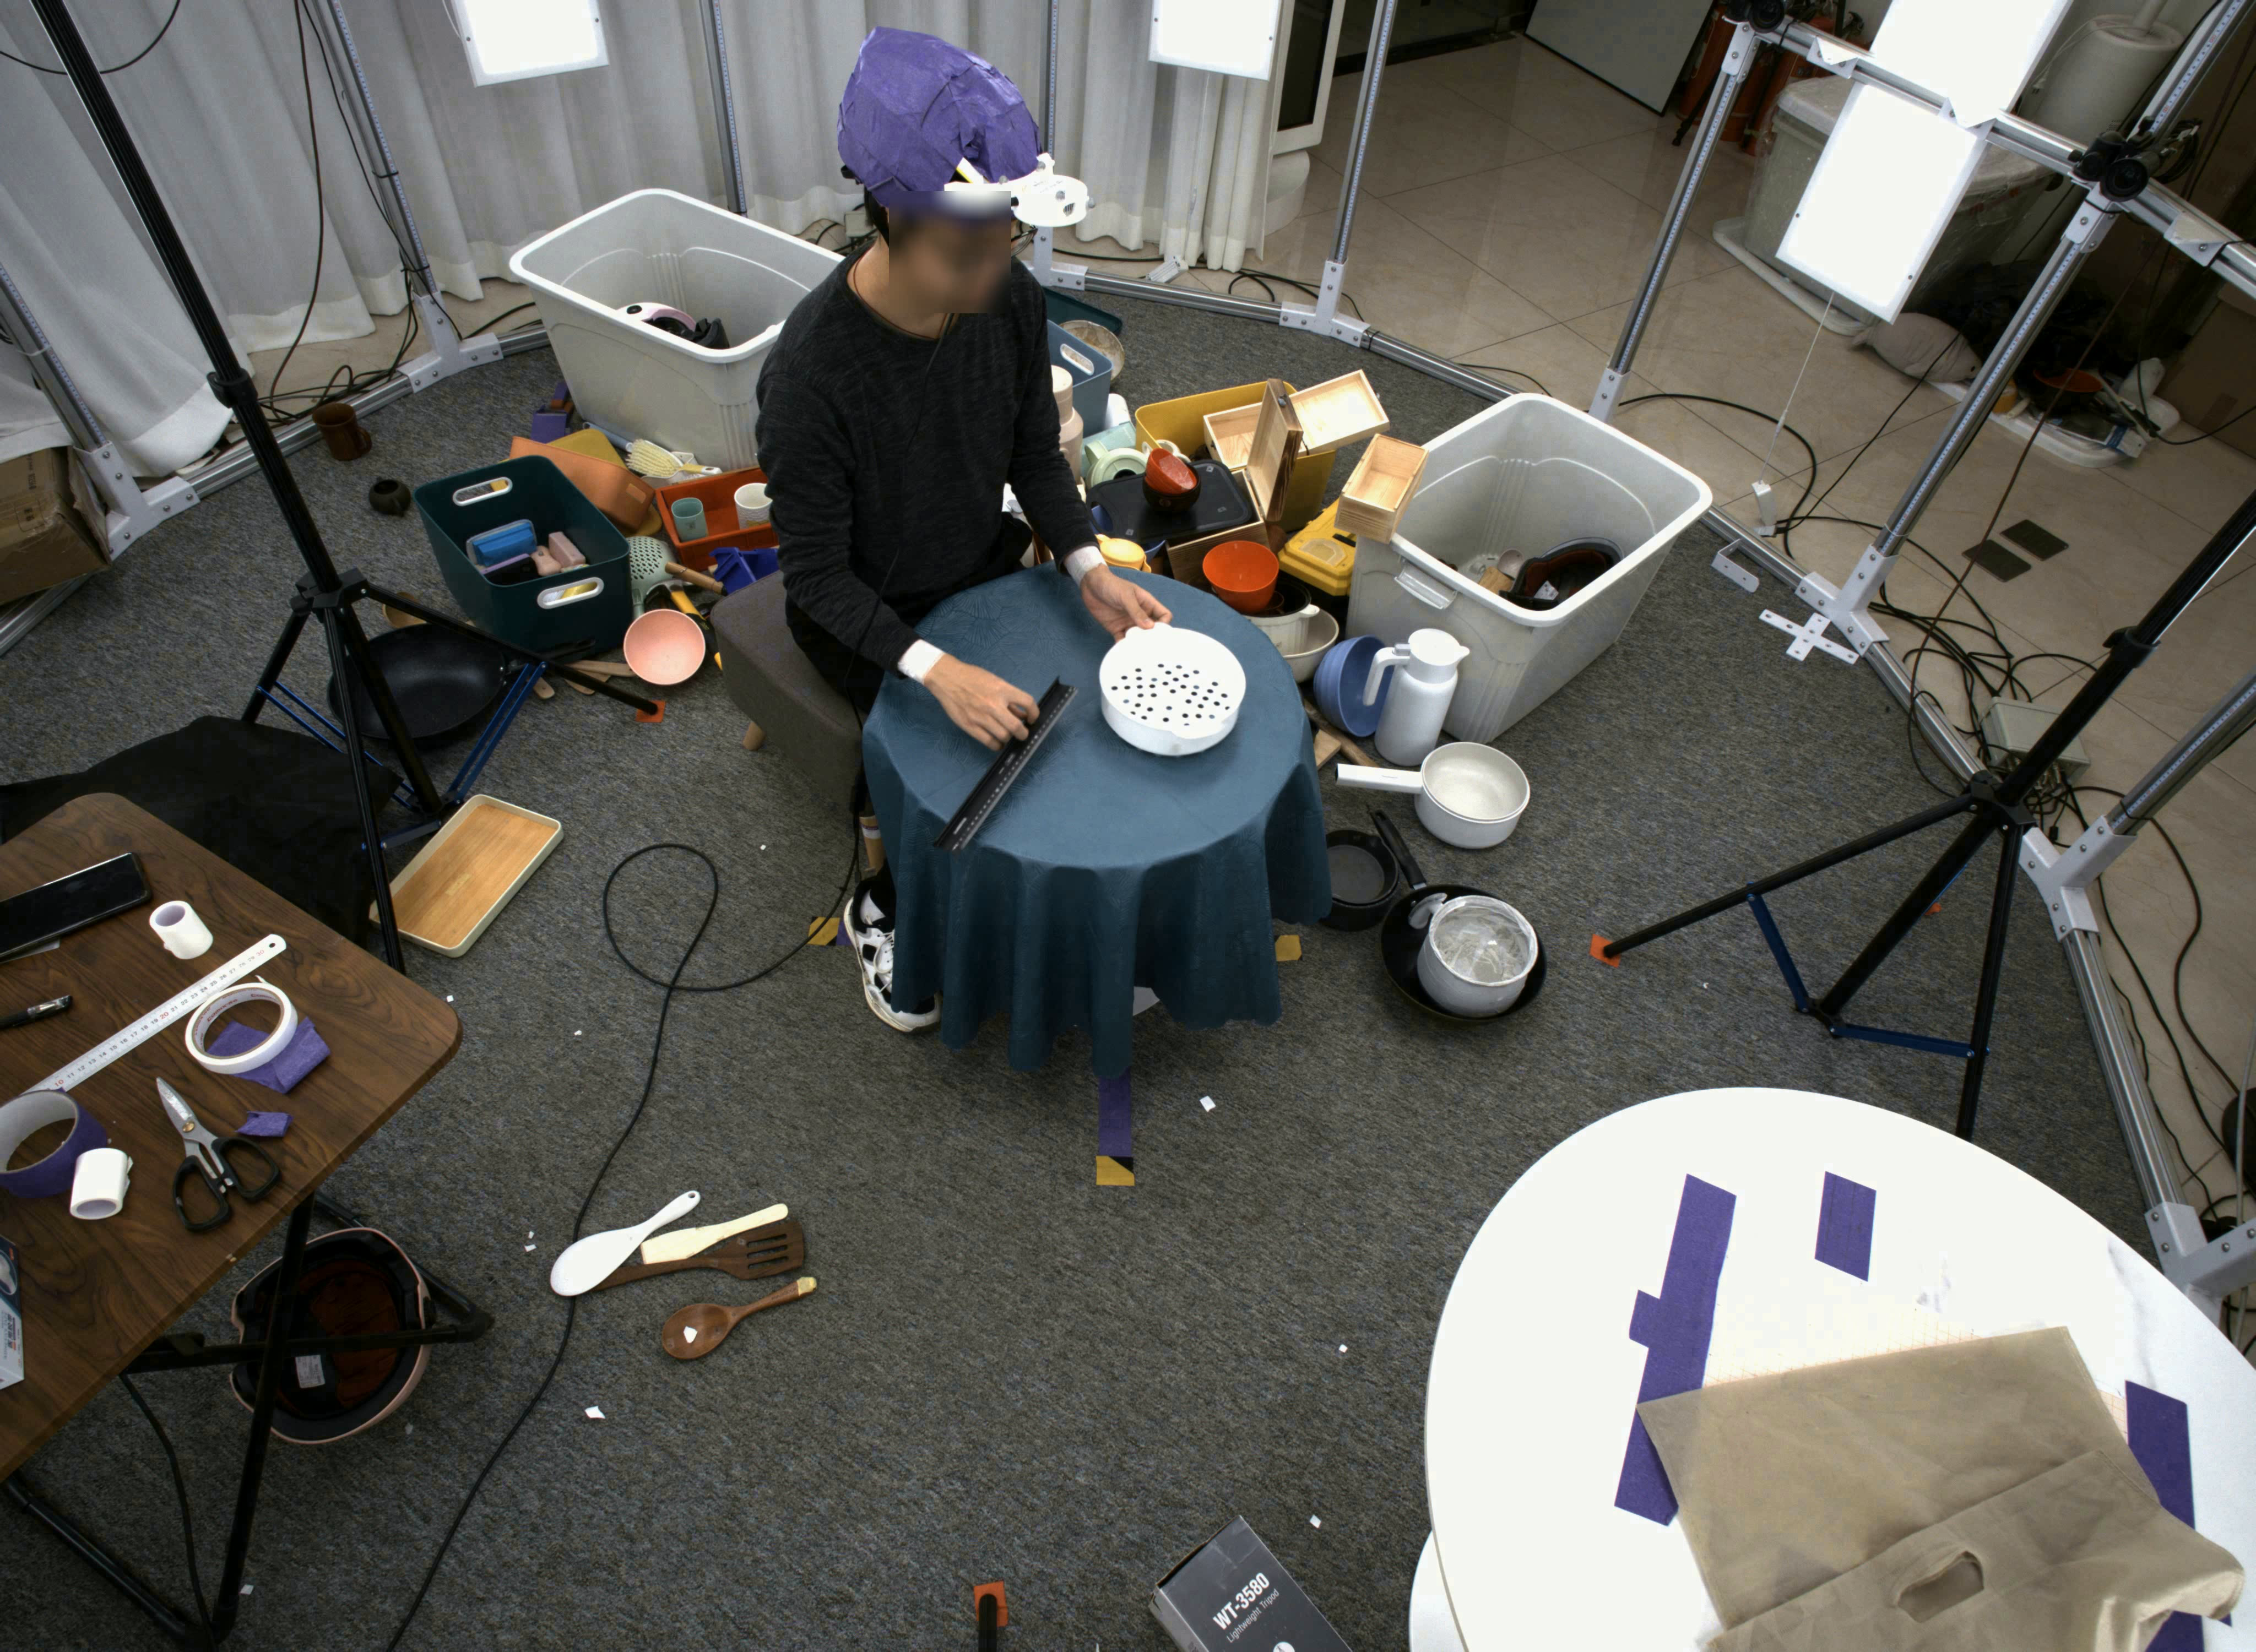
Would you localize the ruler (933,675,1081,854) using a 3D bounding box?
[{"bbox_3d":[-0.155,-0.087,1.685,0.039,0.017,0.317,23,58,17],"label":"ruler"}]

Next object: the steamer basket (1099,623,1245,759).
[{"bbox_3d":[0.059,-0.184,1.790,0.202,0.067,0.236,-12,53,-14],"label":"steamer basket"}]
